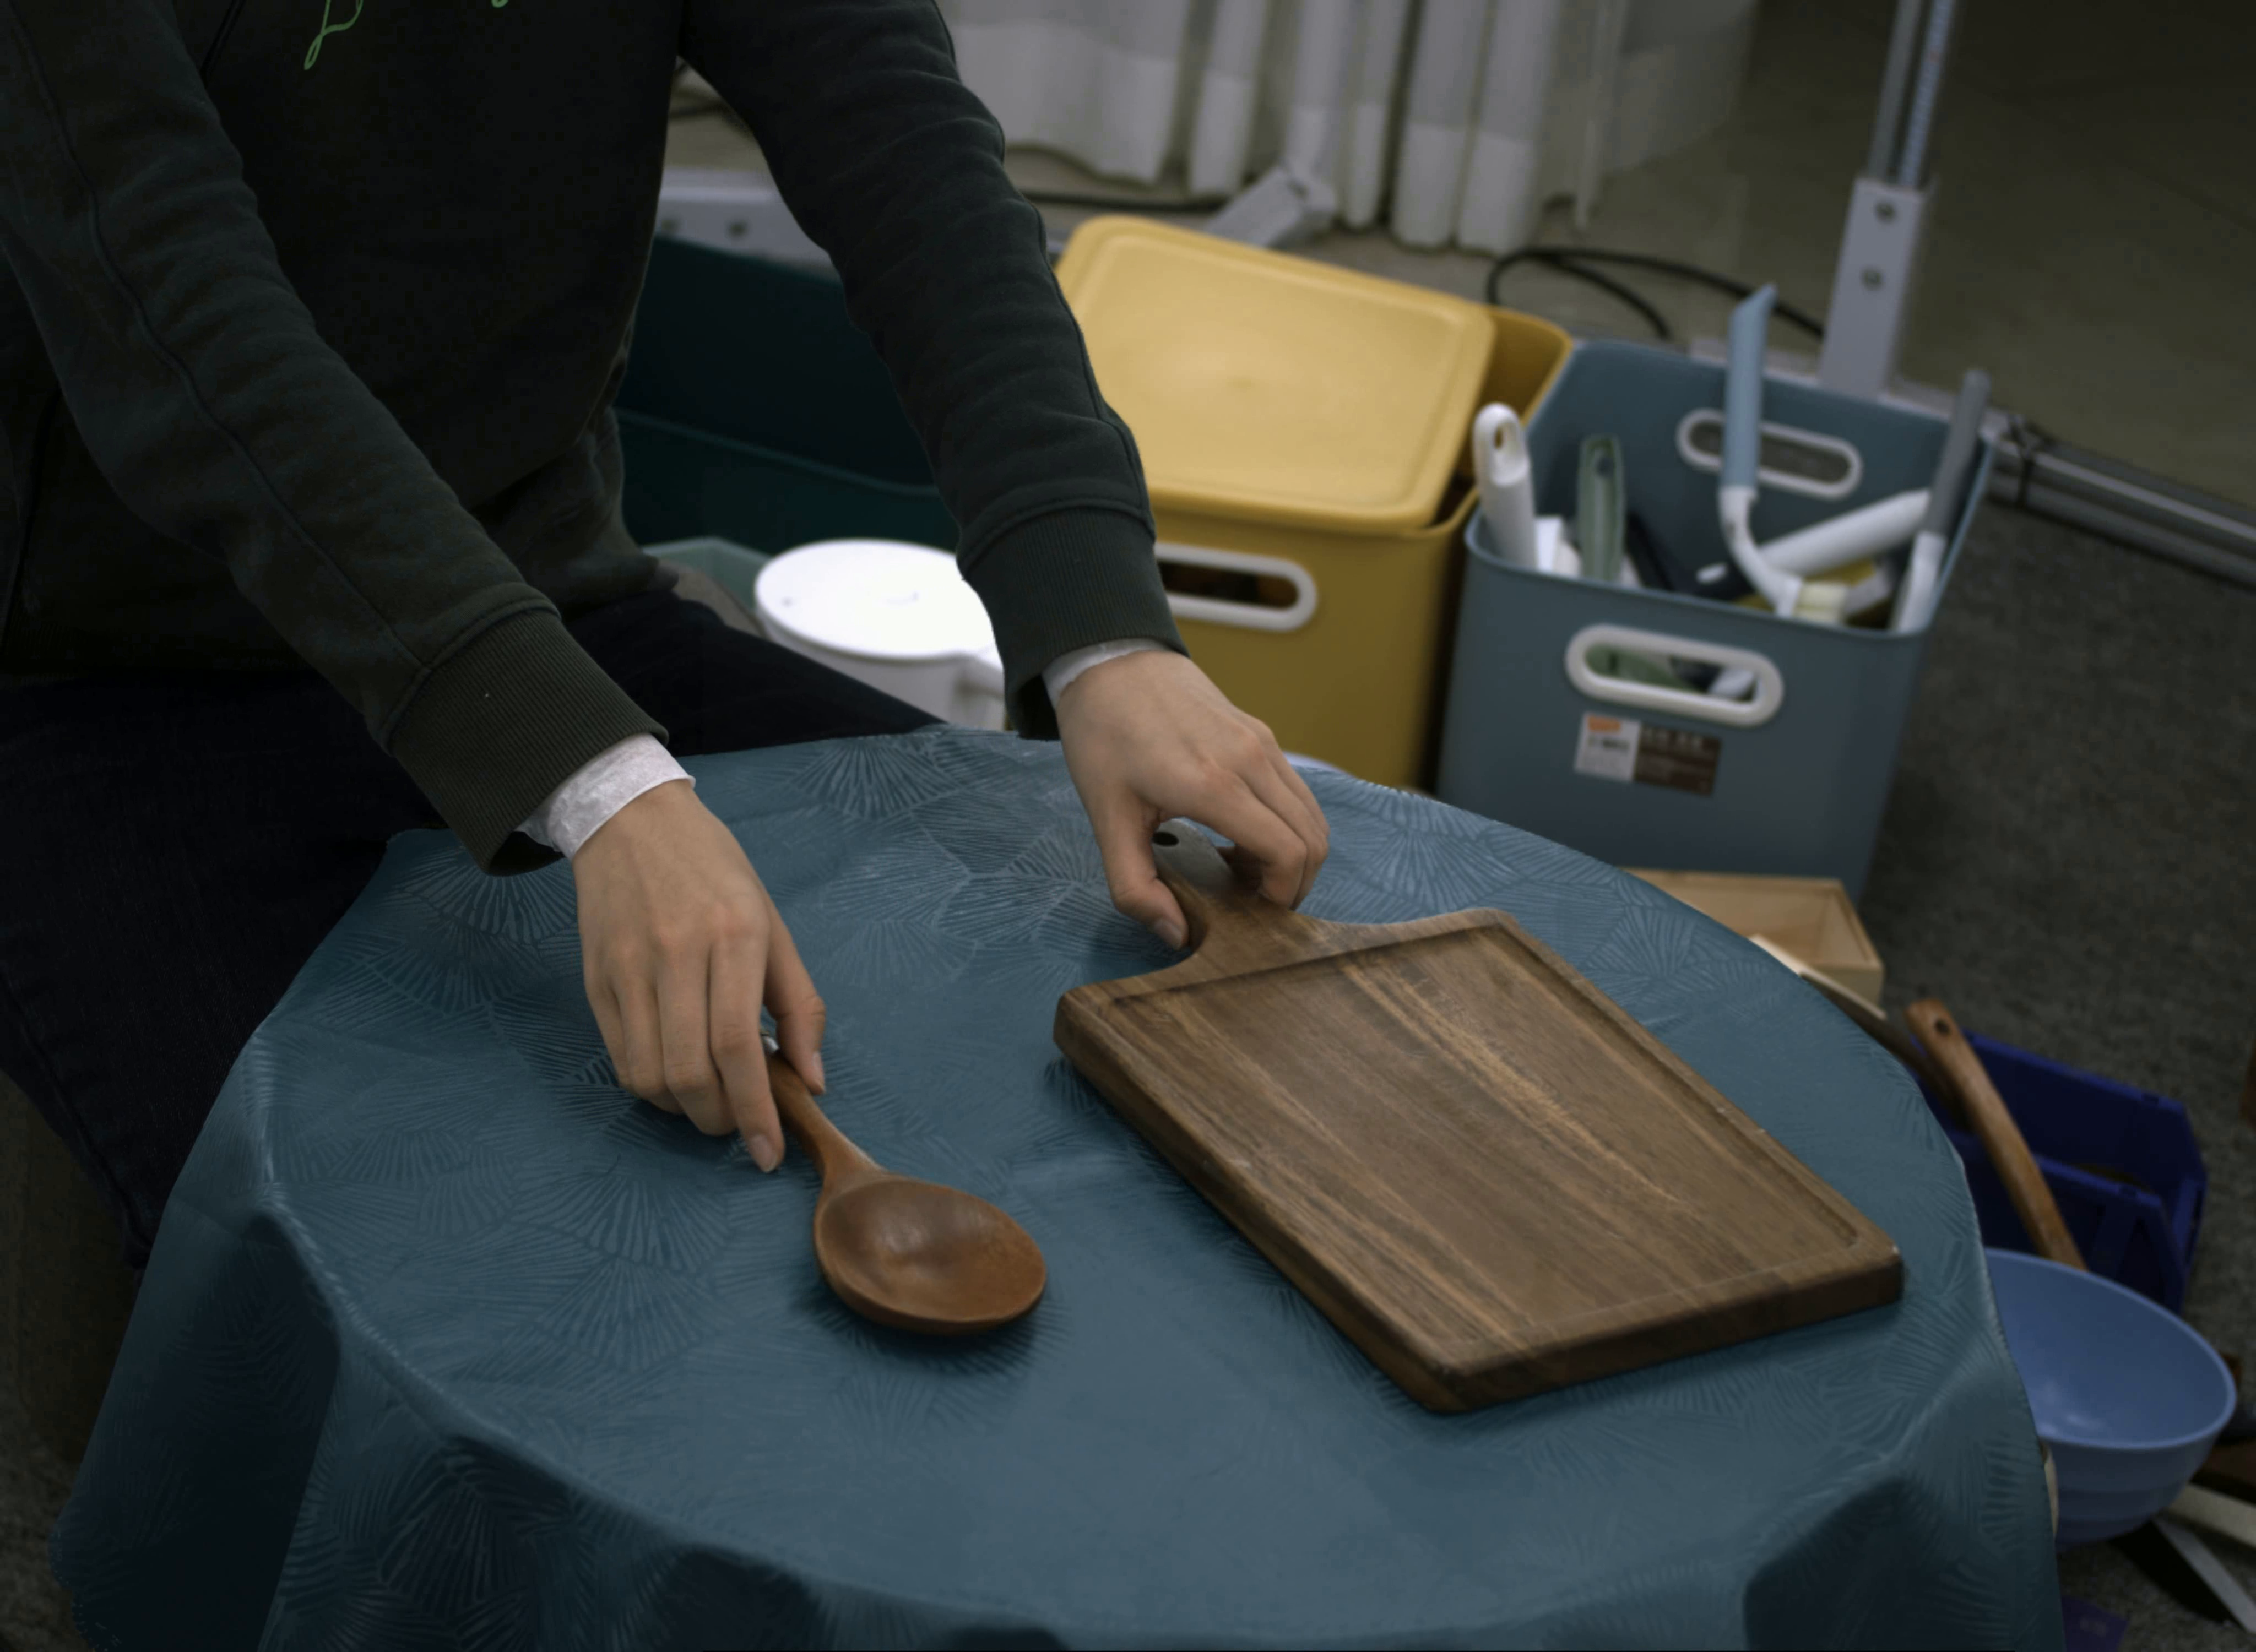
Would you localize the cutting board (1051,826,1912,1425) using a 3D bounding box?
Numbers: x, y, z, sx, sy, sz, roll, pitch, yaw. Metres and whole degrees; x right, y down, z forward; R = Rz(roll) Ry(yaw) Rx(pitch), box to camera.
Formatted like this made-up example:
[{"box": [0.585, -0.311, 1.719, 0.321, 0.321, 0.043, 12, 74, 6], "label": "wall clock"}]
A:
[{"box": [0.093, 0.088, 1.863, 0.200, 0.023, 0.355, -11, 33, -29], "label": "cutting board"}]

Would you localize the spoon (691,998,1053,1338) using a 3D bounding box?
[{"box": [-0.094, 0.114, 1.777, 0.075, 0.017, 0.218, -10, 32, -27], "label": "spoon"}]
